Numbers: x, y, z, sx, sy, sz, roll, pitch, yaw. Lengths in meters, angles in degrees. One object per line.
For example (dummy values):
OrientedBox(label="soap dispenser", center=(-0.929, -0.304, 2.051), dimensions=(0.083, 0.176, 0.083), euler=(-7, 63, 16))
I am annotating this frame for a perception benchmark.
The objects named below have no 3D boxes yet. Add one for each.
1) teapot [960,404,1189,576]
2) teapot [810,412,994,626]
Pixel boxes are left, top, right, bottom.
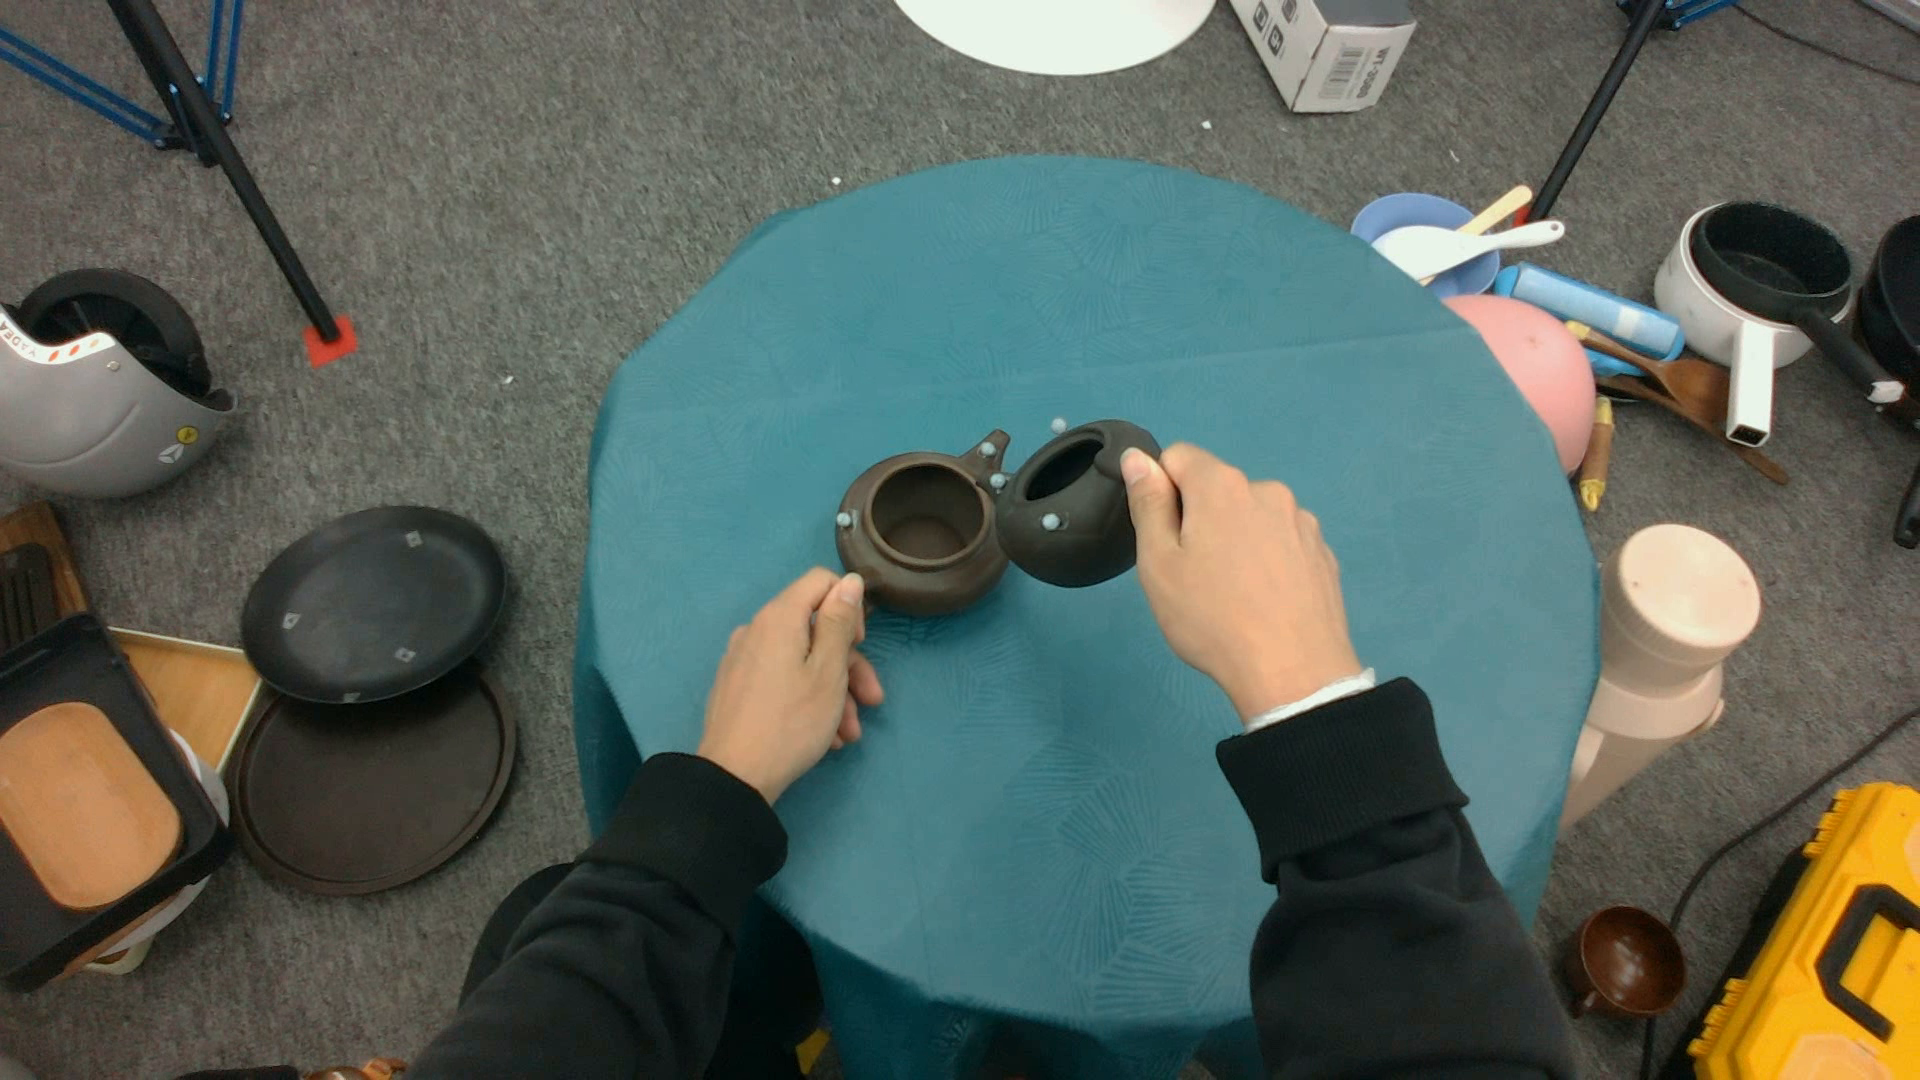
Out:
OrientedBox(label="teapot", center=(0.056, -0.024, 0.679), dimensions=(0.093, 0.154, 0.064), euler=(-51, 118, -22))
OrientedBox(label="teapot", center=(-0.032, -0.009, 0.773), dimensions=(0.102, 0.053, 0.154), euler=(29, 58, 15))
